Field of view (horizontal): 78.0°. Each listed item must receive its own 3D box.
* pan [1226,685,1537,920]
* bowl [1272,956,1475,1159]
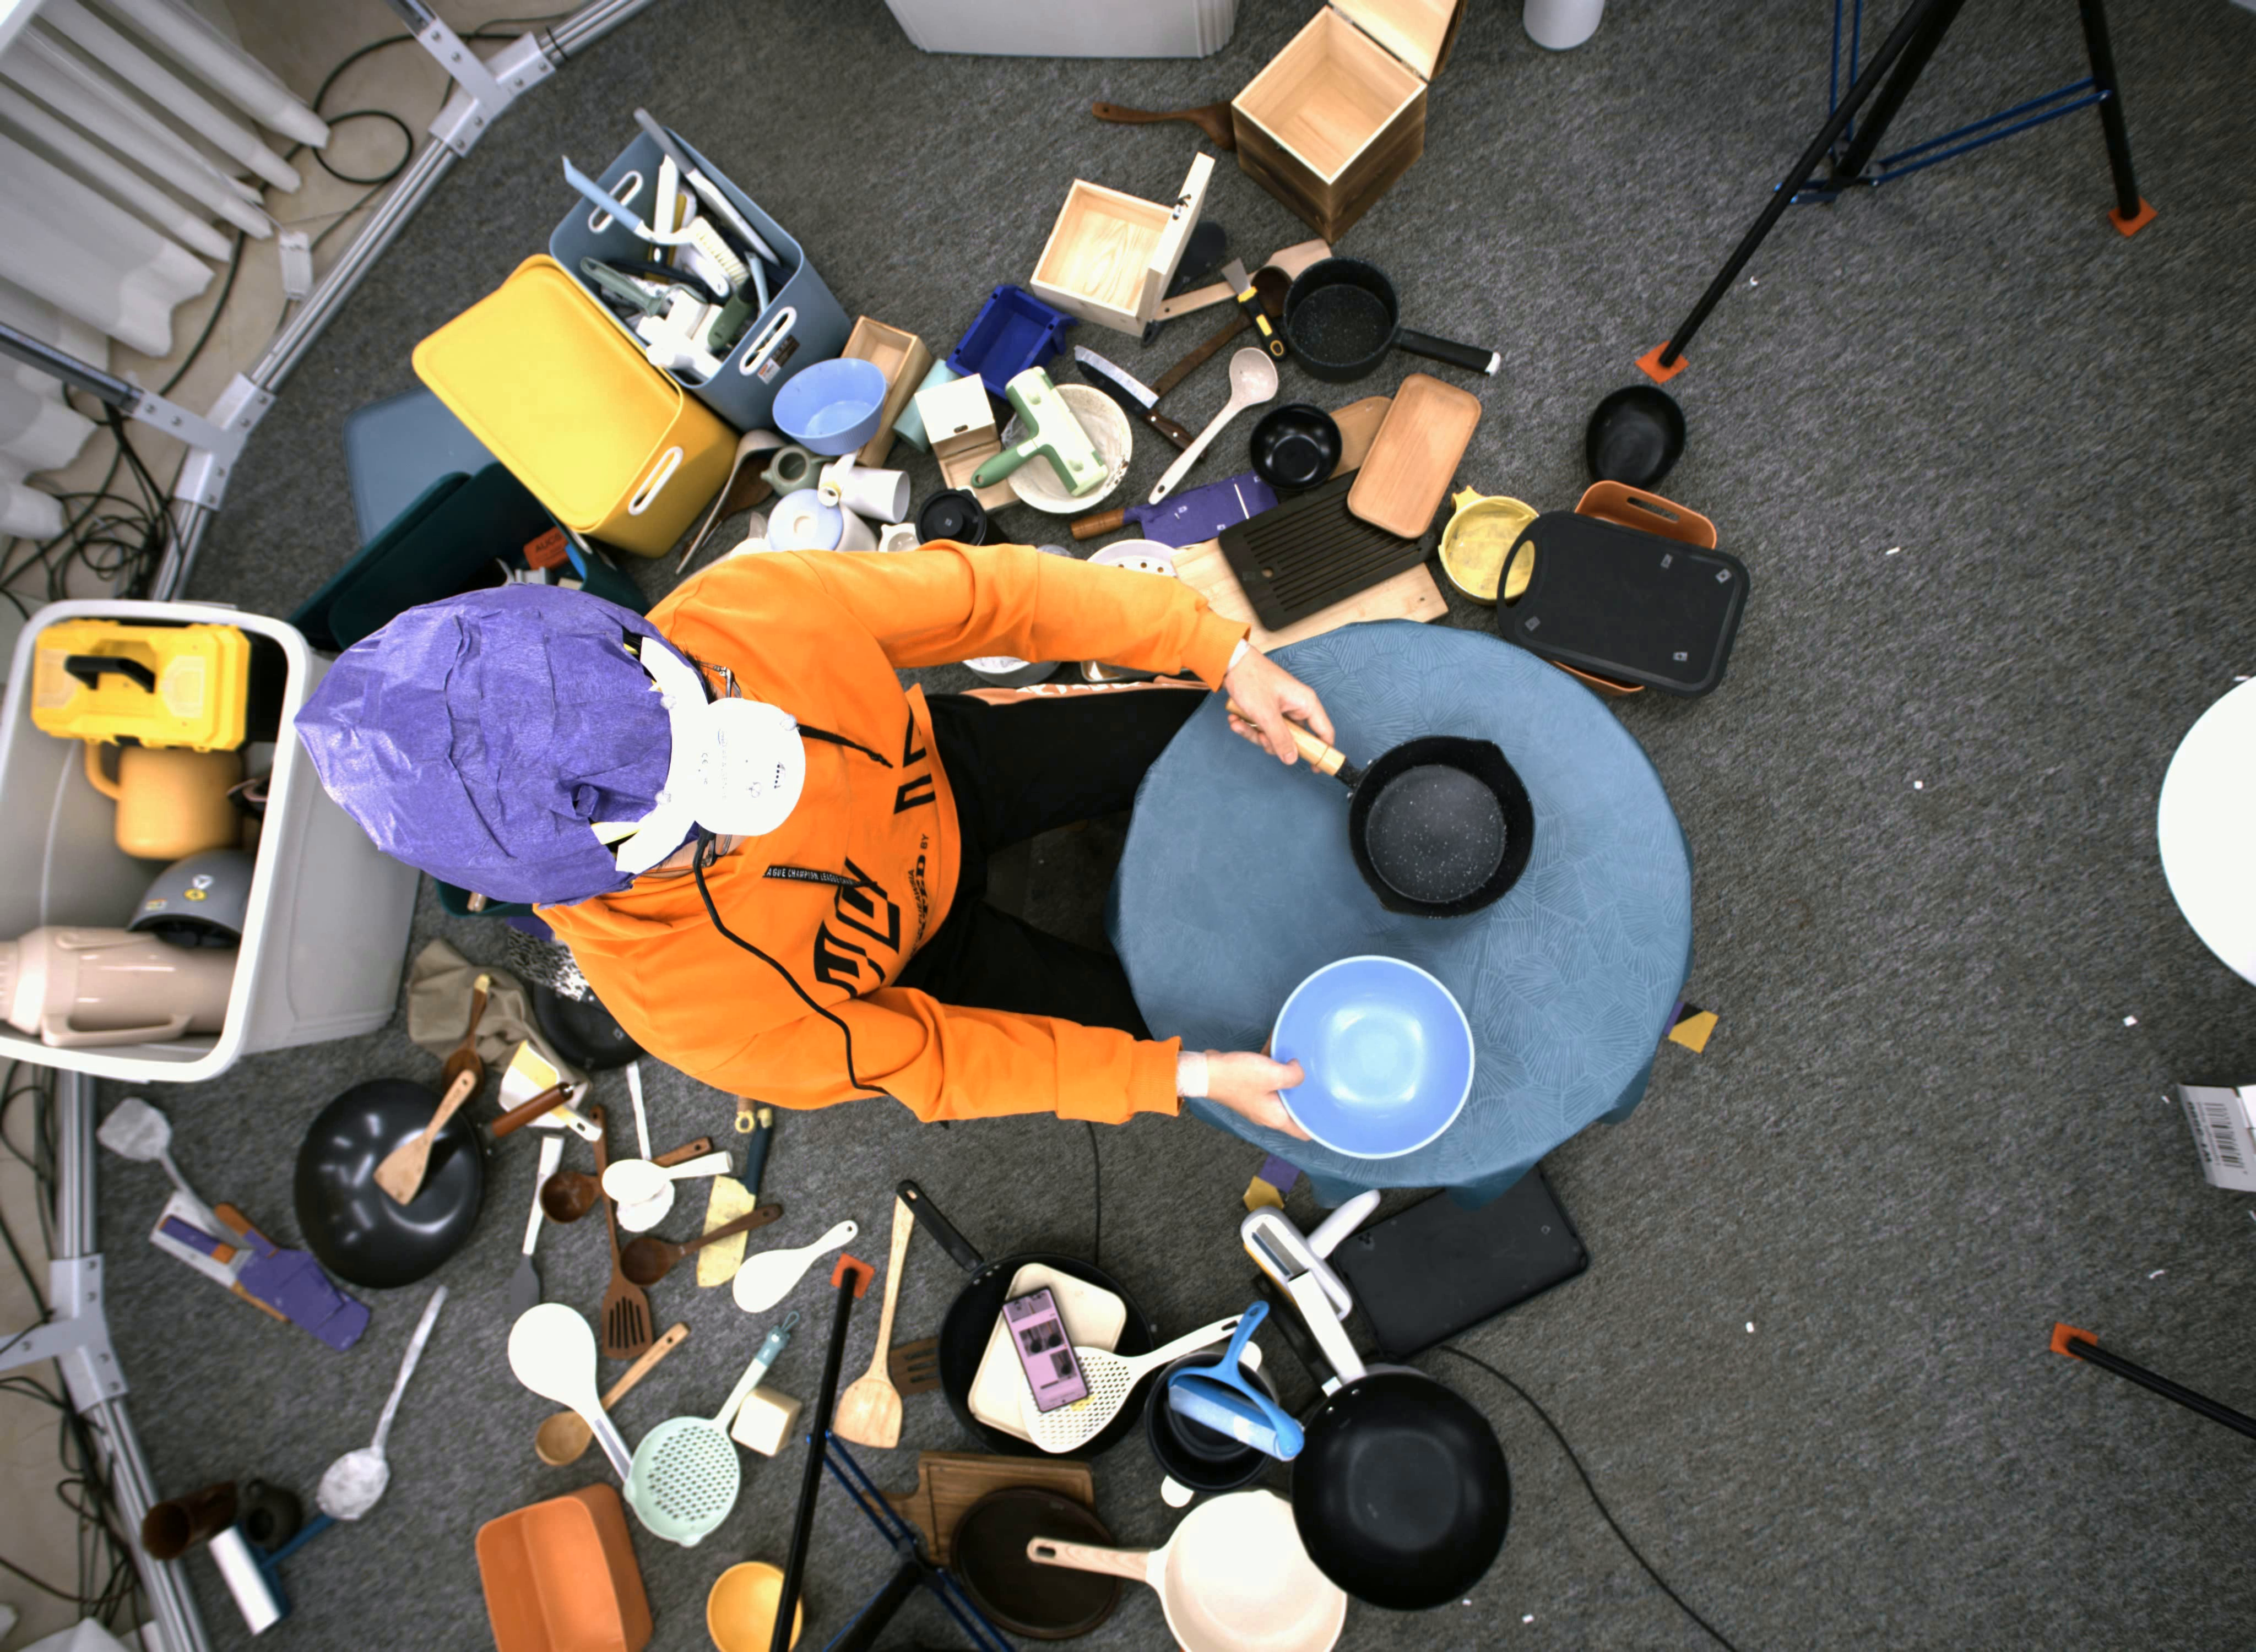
[{"bbox_3d":[0.249,-0.039,1.408,0.342,0.108,0.208,31,93,8],"label":"pan"},{"bbox_3d":[0.246,0.229,1.394,0.197,0.095,0.195,-1,85,11],"label":"bowl"}]
